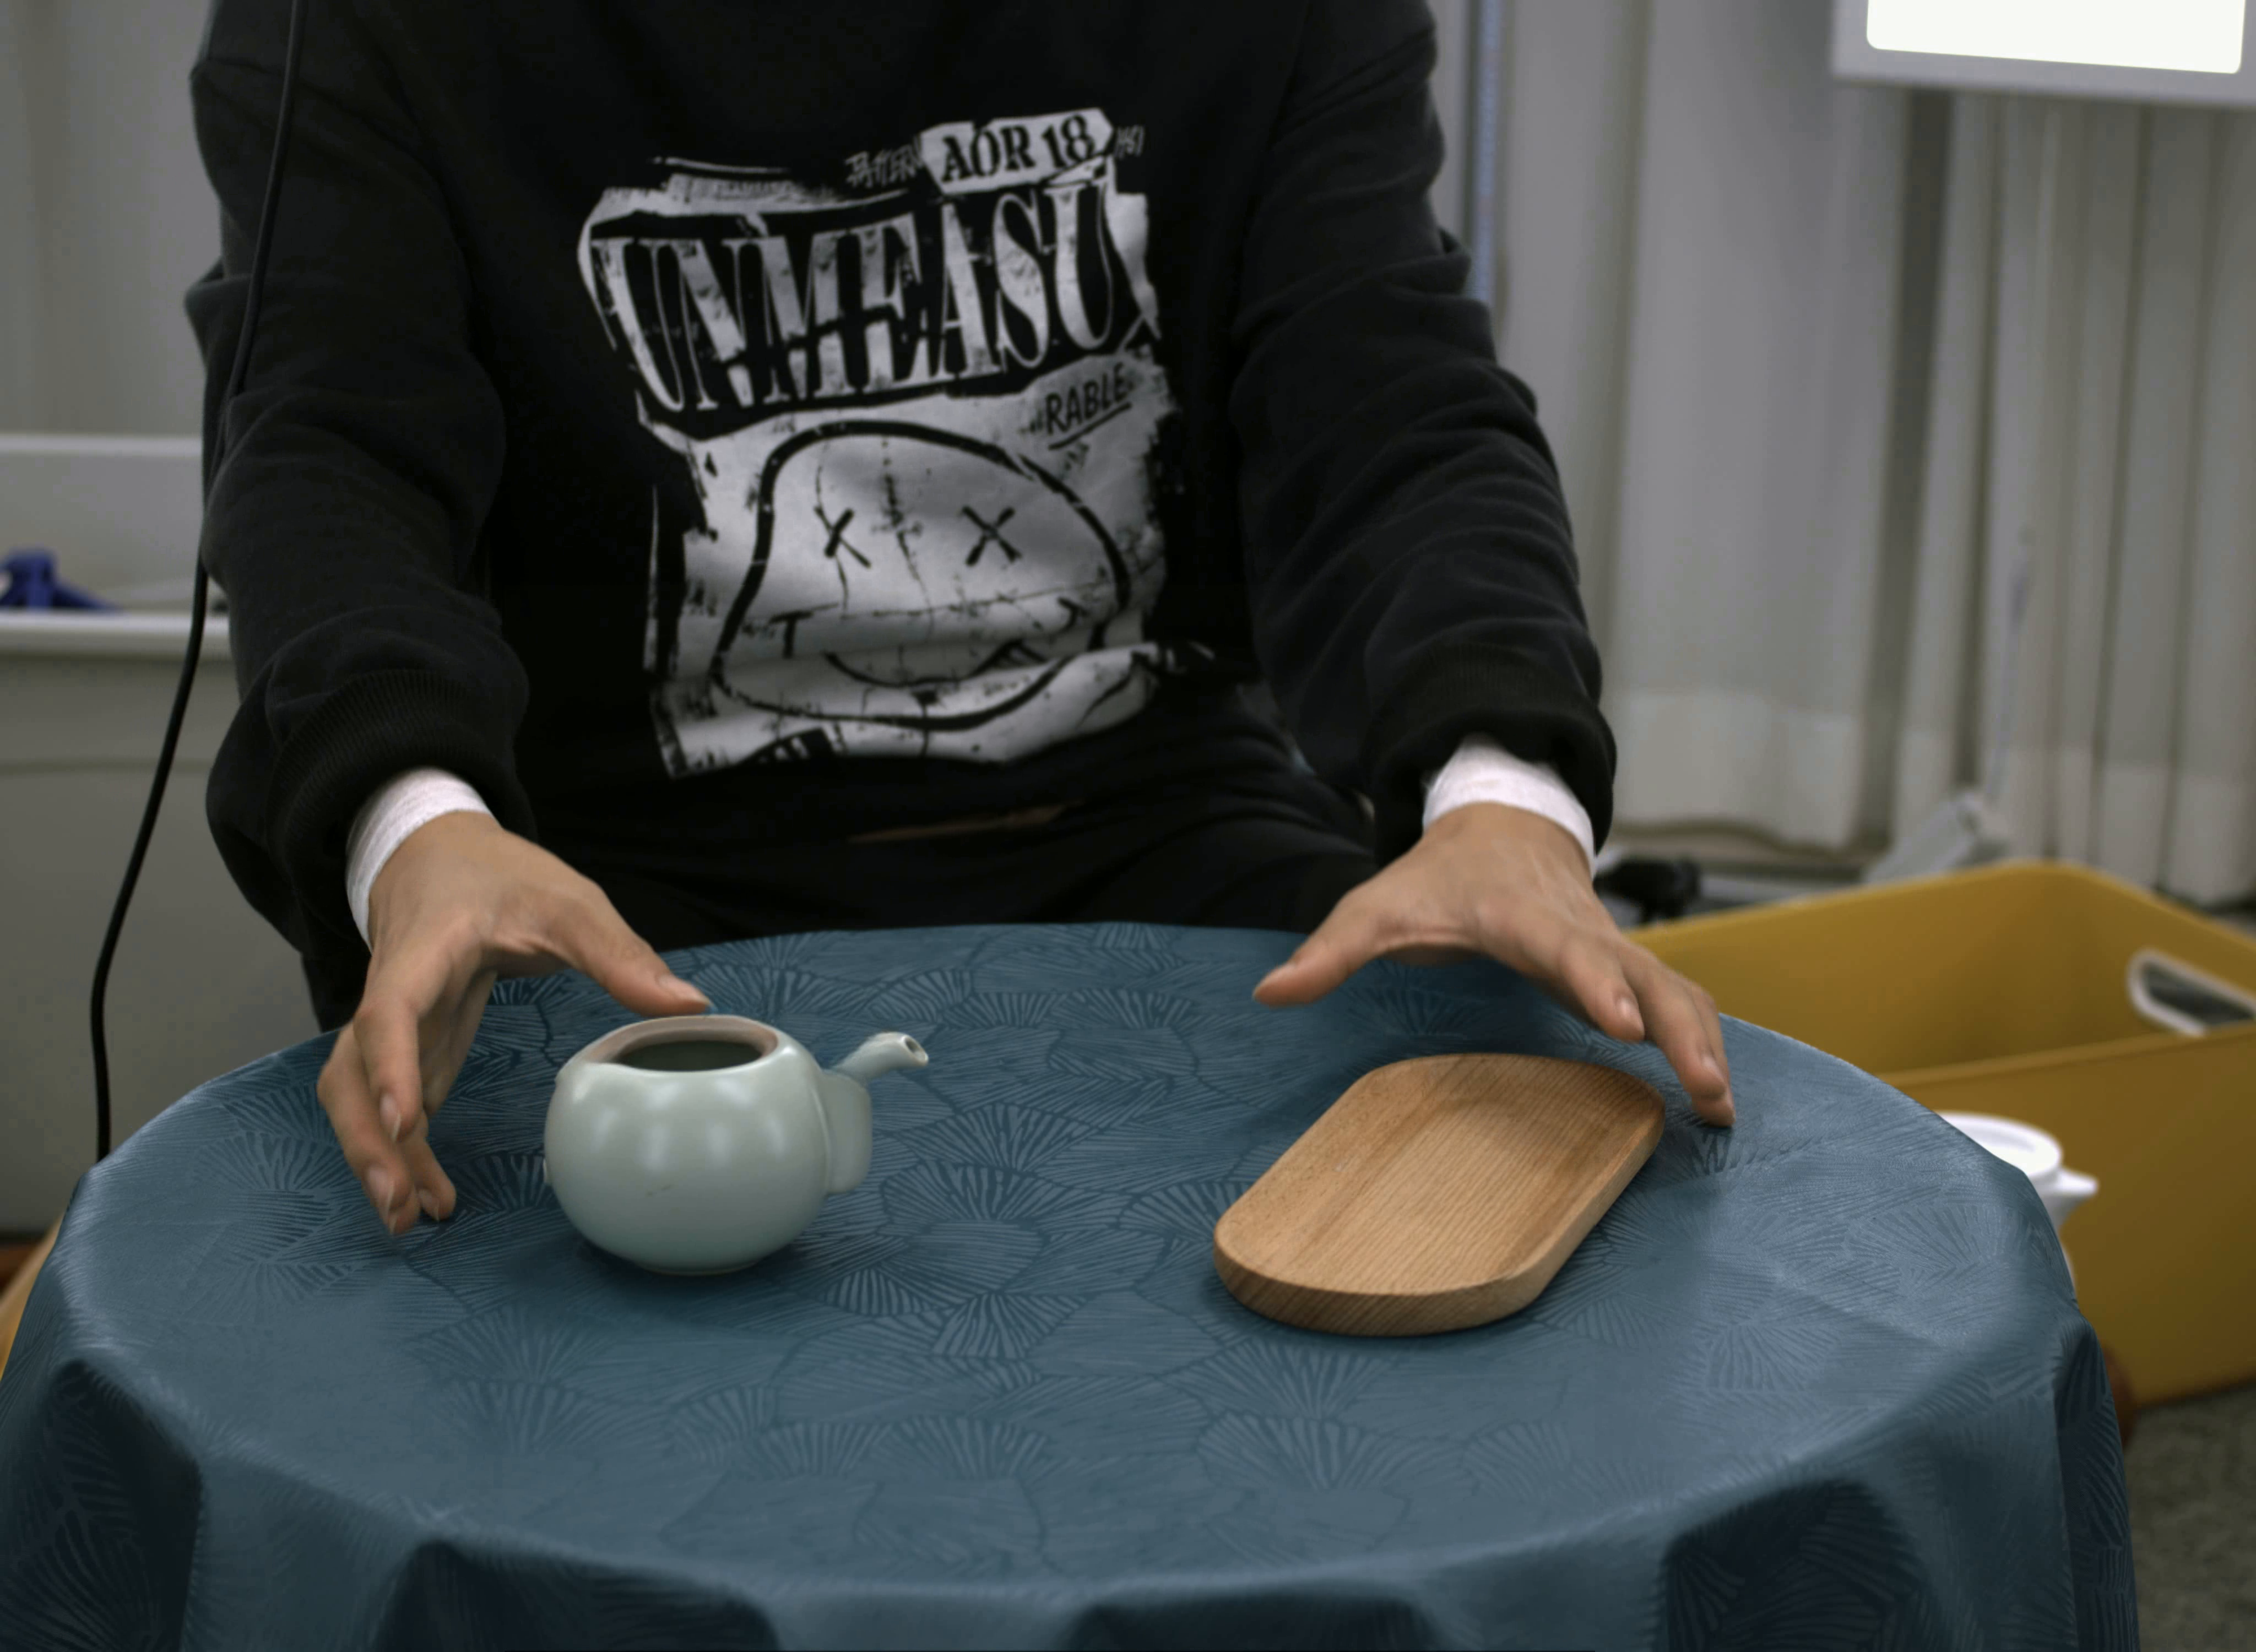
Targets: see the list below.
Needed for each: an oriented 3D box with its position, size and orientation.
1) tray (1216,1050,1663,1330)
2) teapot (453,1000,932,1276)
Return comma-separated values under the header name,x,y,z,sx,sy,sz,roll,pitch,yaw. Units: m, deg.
name,x,y,z,sx,sy,sz,roll,pitch,yaw
tray,0.097,0.109,1.609,0.101,0.020,0.231,7,15,17
teapot,-0.129,0.092,1.556,0.143,0.075,0.088,5,17,9
